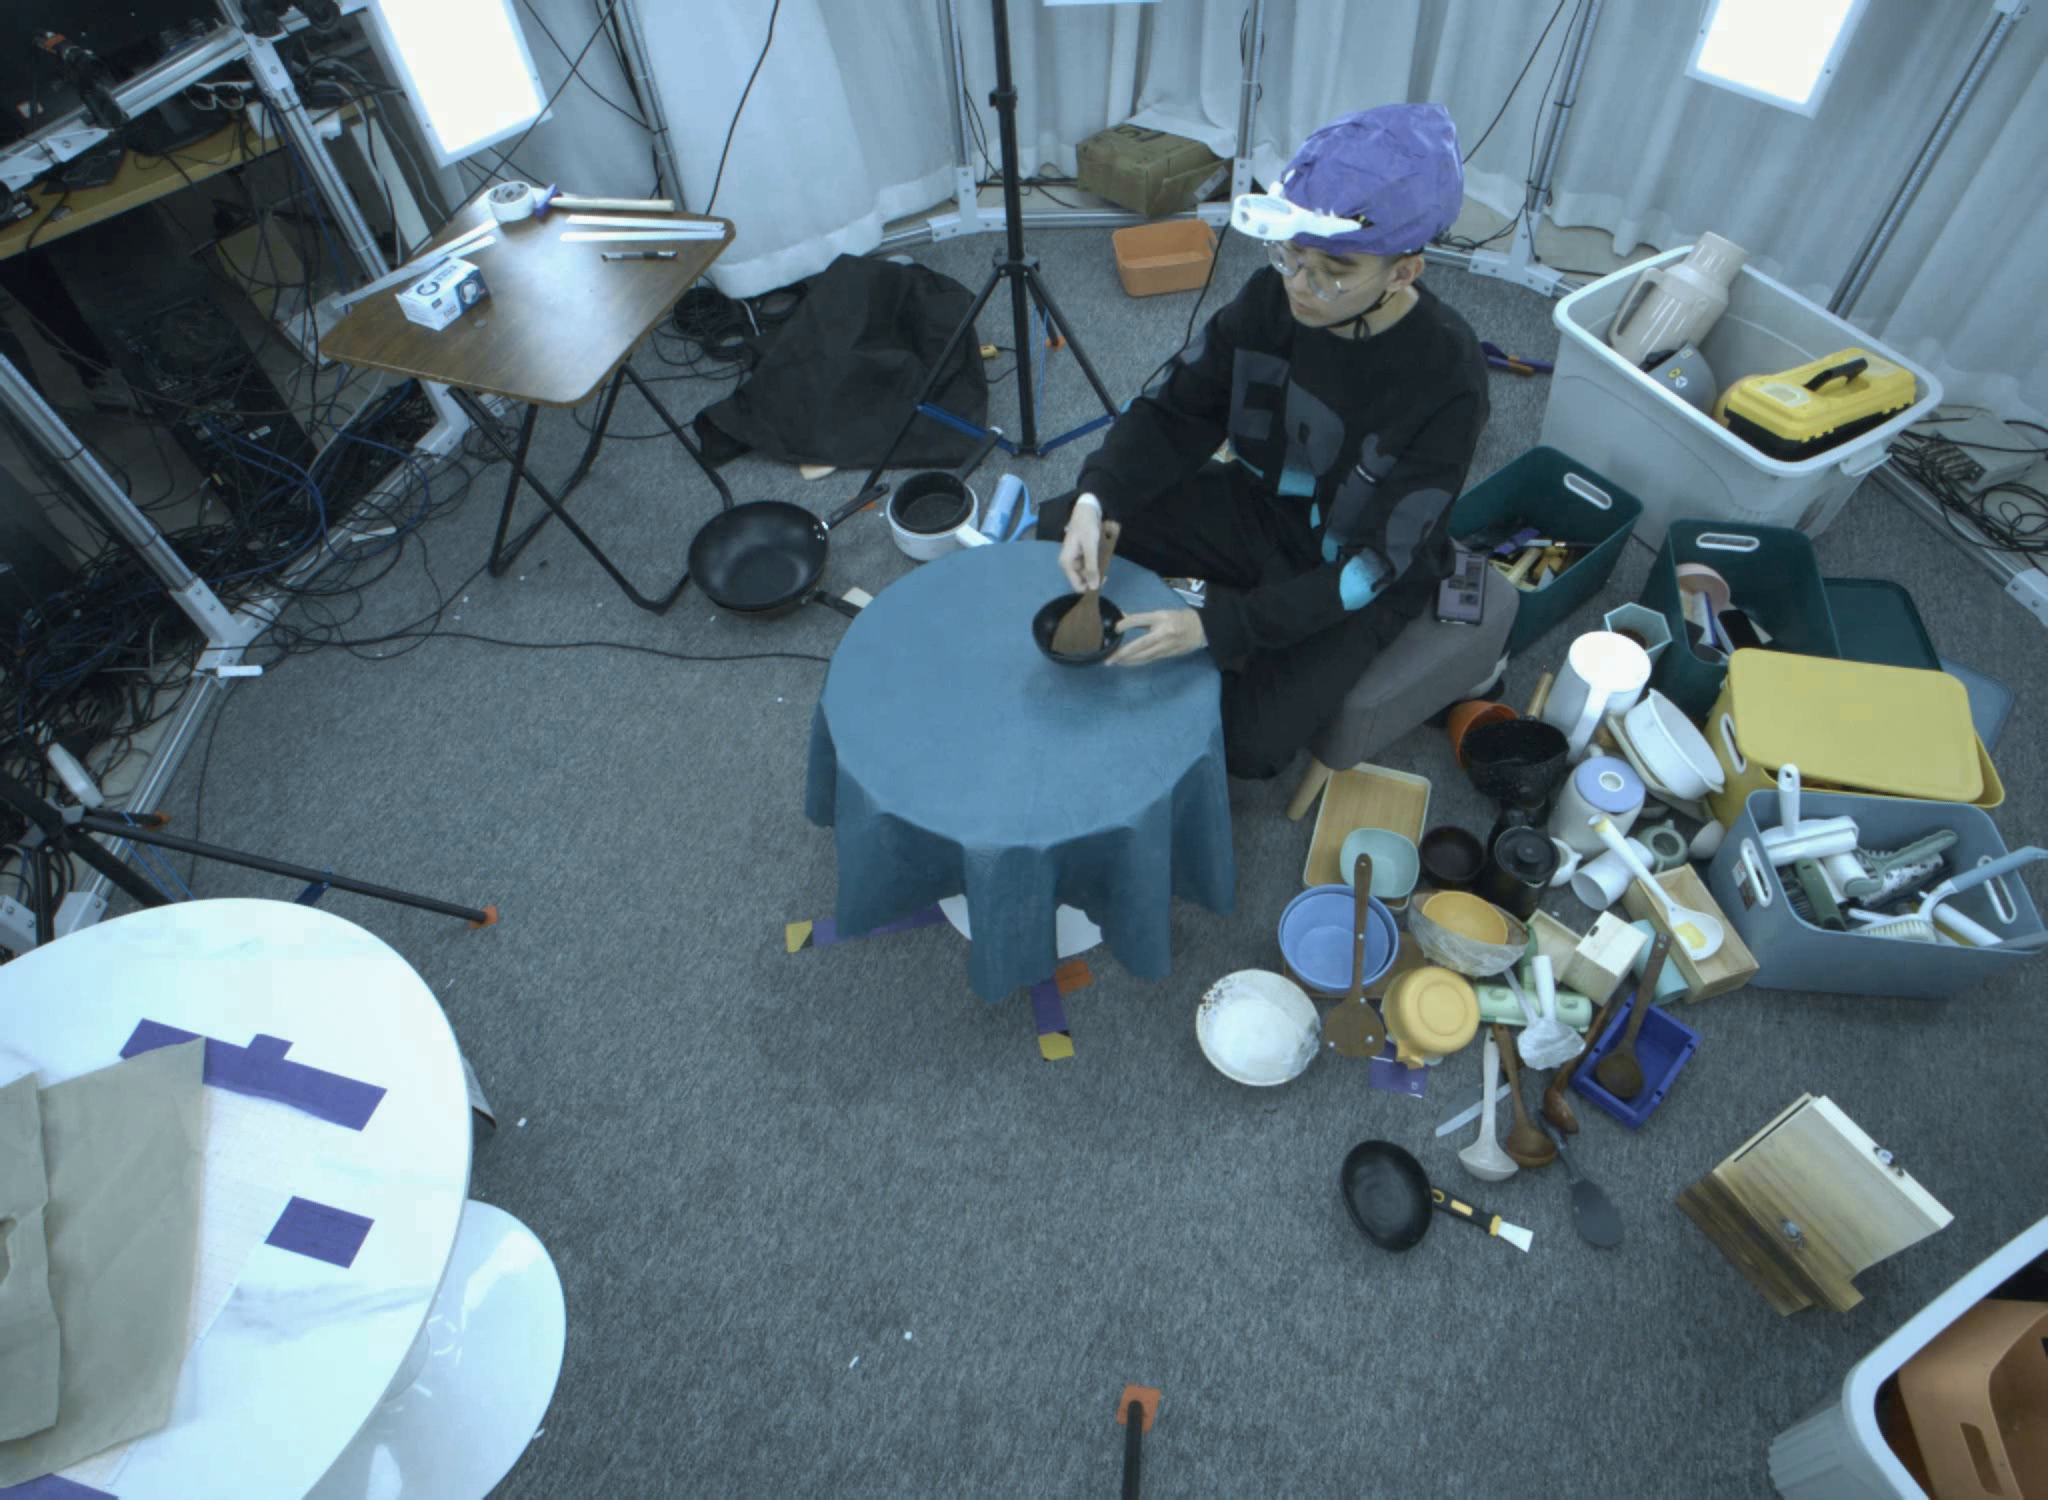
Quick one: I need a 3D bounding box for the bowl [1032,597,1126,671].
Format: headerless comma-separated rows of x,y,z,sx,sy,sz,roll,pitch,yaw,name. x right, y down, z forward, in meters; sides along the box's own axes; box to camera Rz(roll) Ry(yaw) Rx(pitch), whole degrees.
0.083,-0.164,1.832,0.139,0.050,0.138,-3,50,4,bowl

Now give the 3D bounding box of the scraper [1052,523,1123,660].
0.104,-0.233,1.821,0.075,0.011,0.211,18,97,11,scraper
